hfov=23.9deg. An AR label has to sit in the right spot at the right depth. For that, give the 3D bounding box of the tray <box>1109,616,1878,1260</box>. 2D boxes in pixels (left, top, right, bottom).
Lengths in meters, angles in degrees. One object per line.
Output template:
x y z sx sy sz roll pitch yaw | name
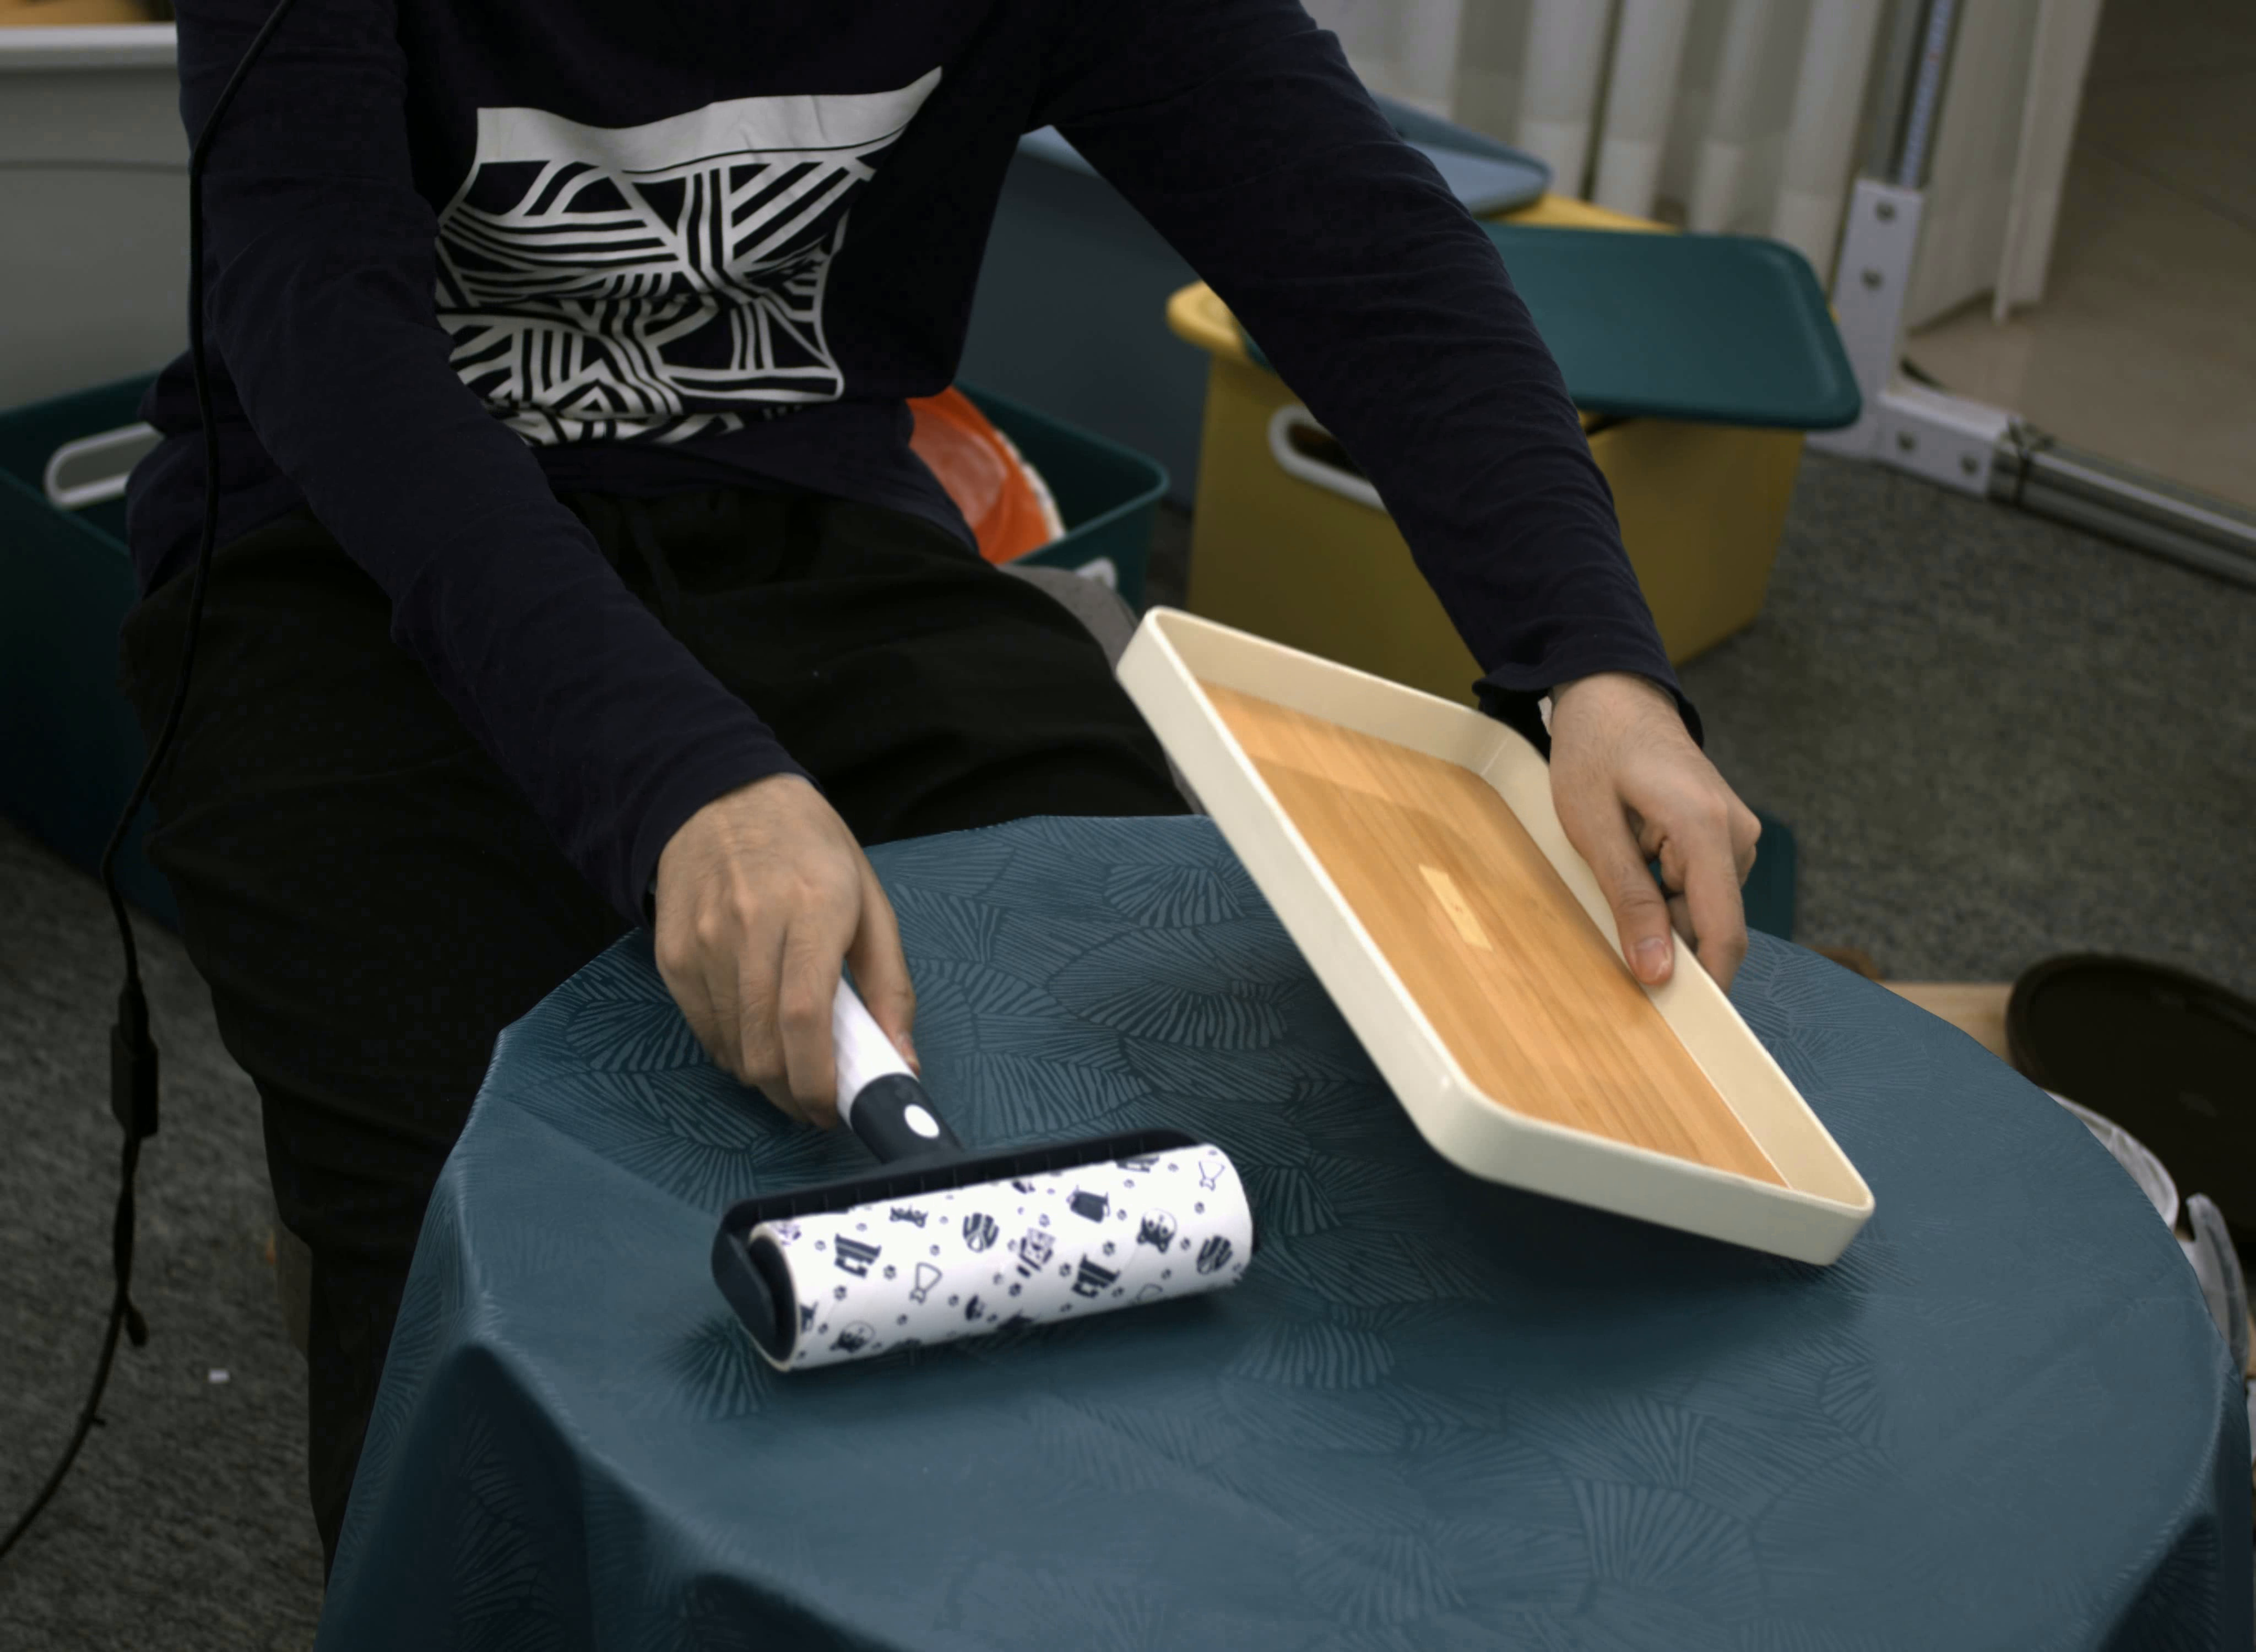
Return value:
0.122 0.037 1.855 0.190 0.027 0.303 14 28 -34 | tray

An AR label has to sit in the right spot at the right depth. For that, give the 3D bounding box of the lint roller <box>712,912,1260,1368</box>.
-0.086 0.089 1.785 0.175 0.050 0.249 -10 33 -24 | lint roller
